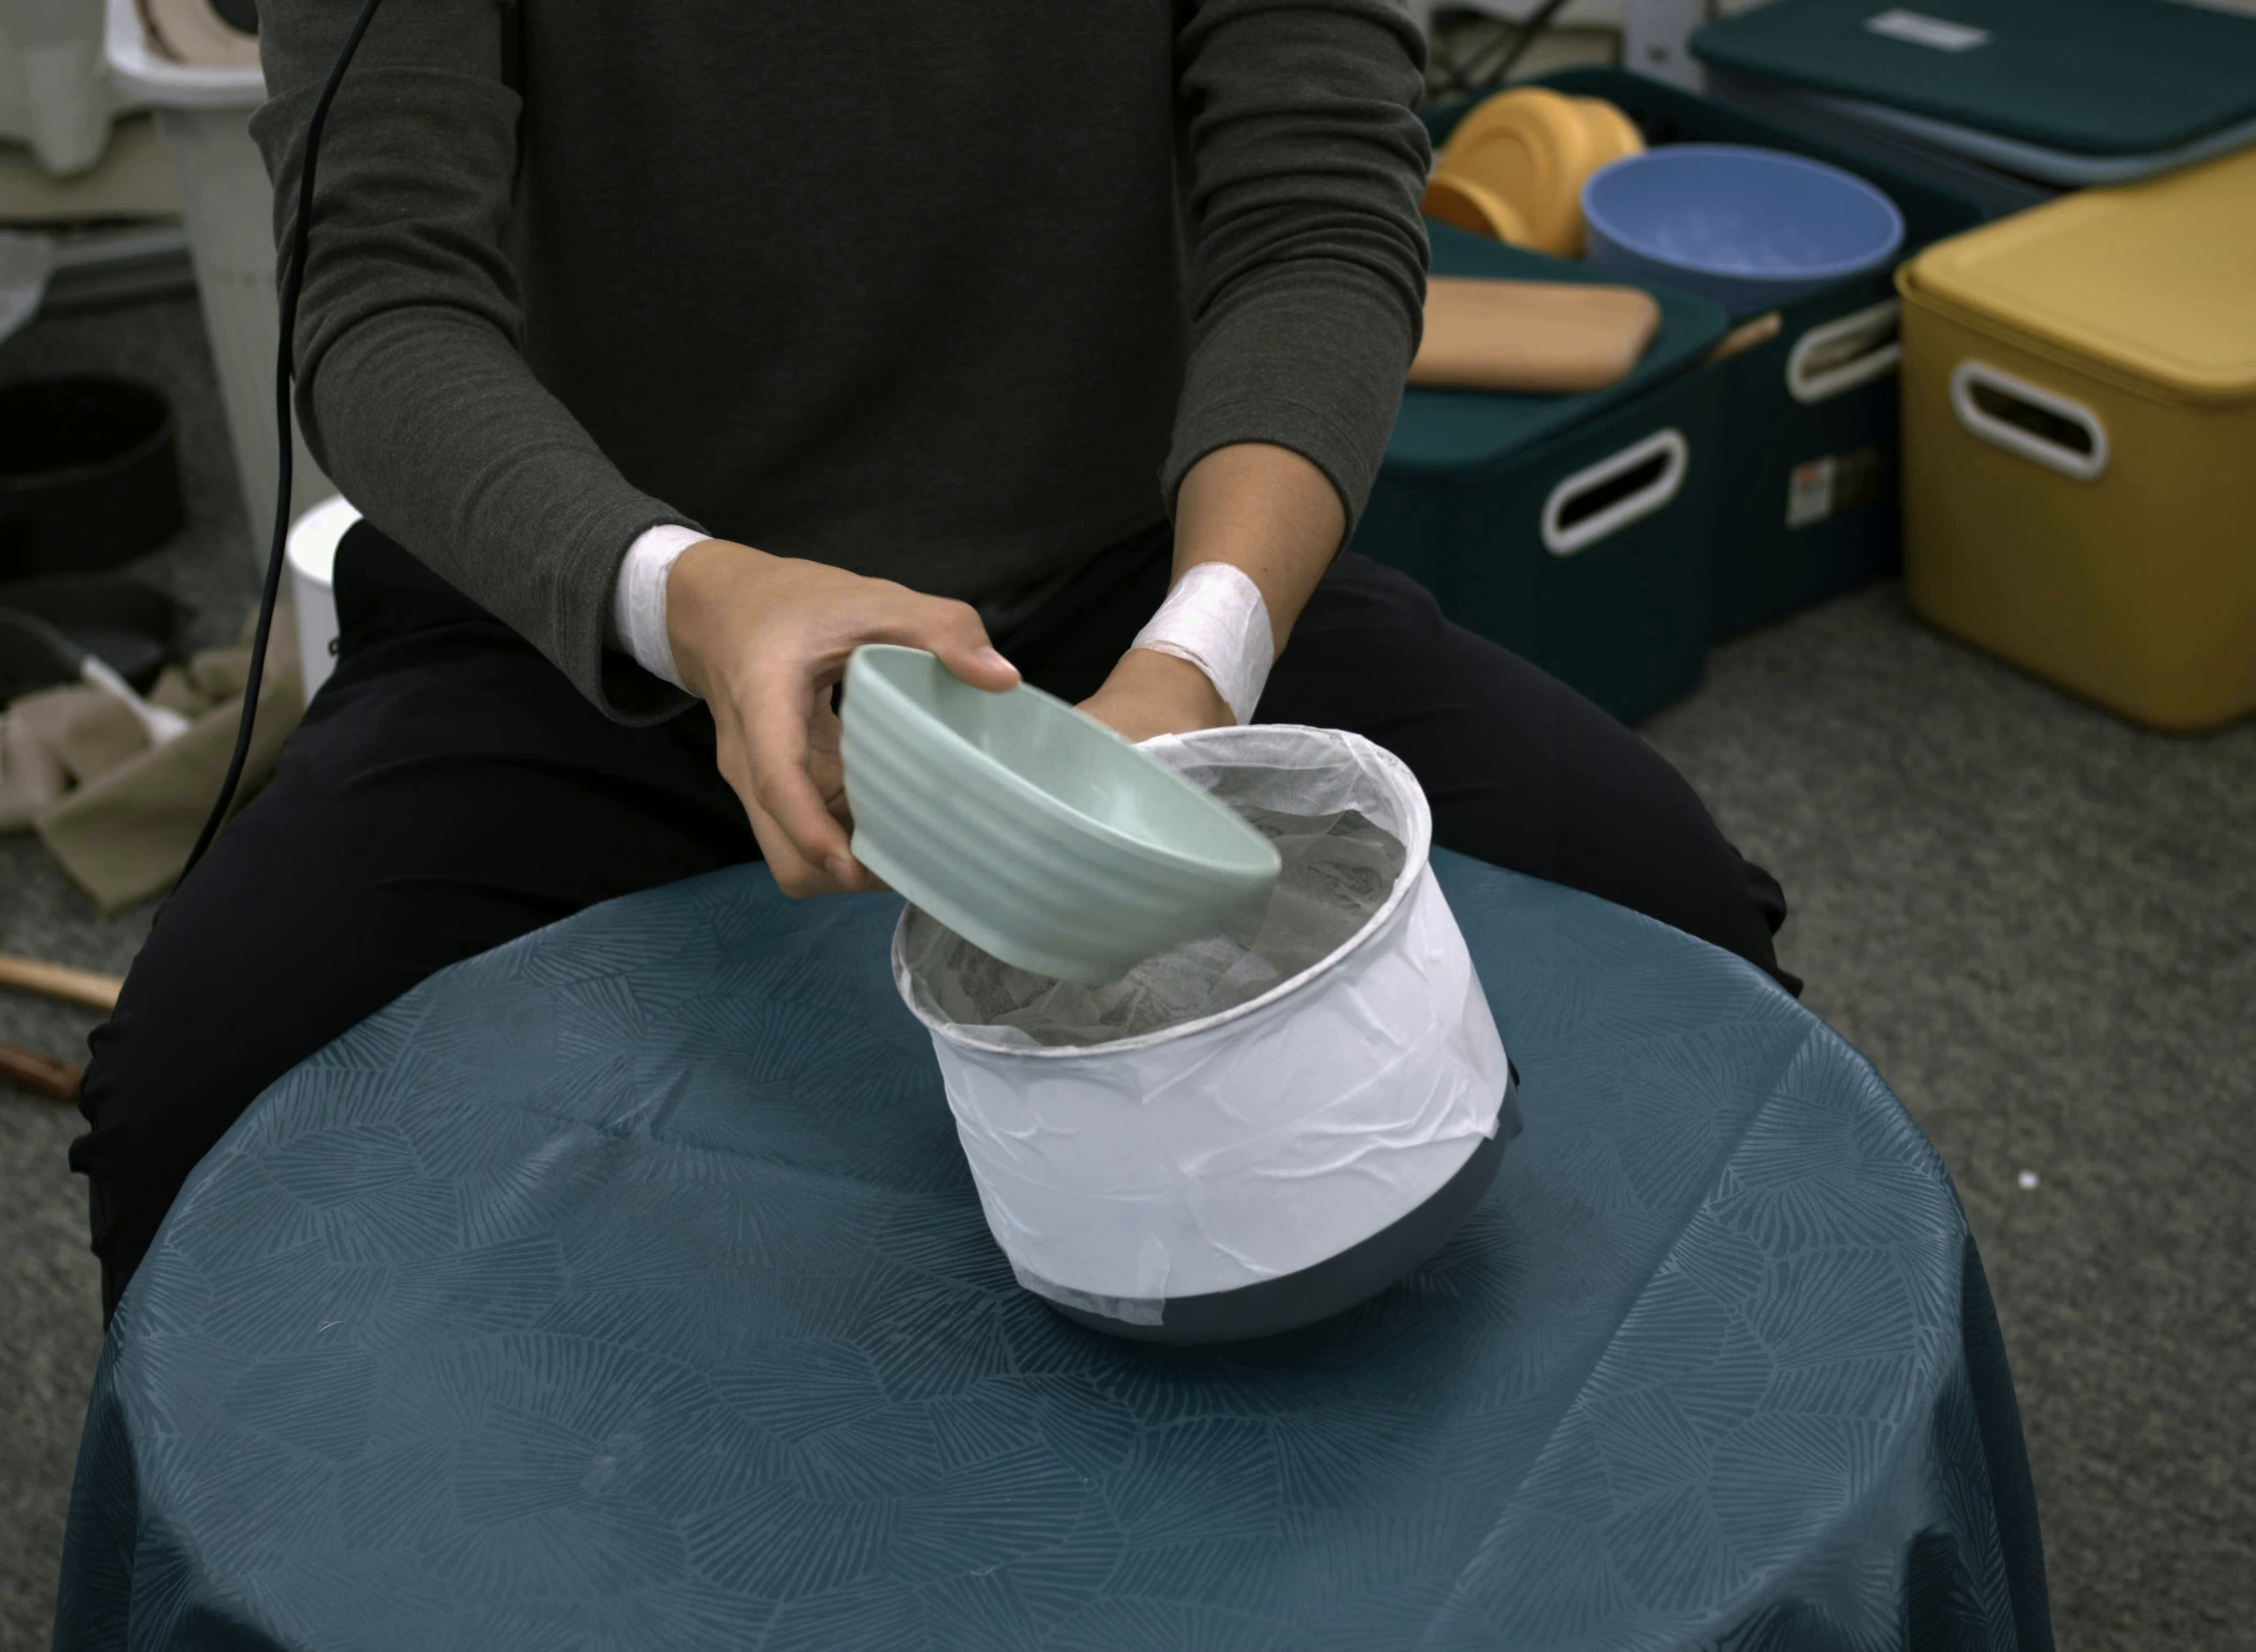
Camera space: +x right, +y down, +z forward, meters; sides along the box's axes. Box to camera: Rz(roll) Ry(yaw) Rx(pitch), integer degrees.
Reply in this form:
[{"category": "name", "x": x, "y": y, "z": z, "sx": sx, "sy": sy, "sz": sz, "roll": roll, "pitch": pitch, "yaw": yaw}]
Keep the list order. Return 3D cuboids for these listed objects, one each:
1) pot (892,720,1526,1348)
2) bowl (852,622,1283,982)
[{"category": "pot", "x": 0.020, "y": 0.057, "z": 1.813, "sx": 0.178, "sy": 0.135, "sz": 0.236, "roll": -21, "pitch": 30, "yaw": -6}, {"category": "bowl", "x": -0.029, "y": 0.000, "z": 1.750, "sx": 0.151, "sy": 0.058, "sz": 0.153, "roll": 31, "pitch": 14, "yaw": -8}]
